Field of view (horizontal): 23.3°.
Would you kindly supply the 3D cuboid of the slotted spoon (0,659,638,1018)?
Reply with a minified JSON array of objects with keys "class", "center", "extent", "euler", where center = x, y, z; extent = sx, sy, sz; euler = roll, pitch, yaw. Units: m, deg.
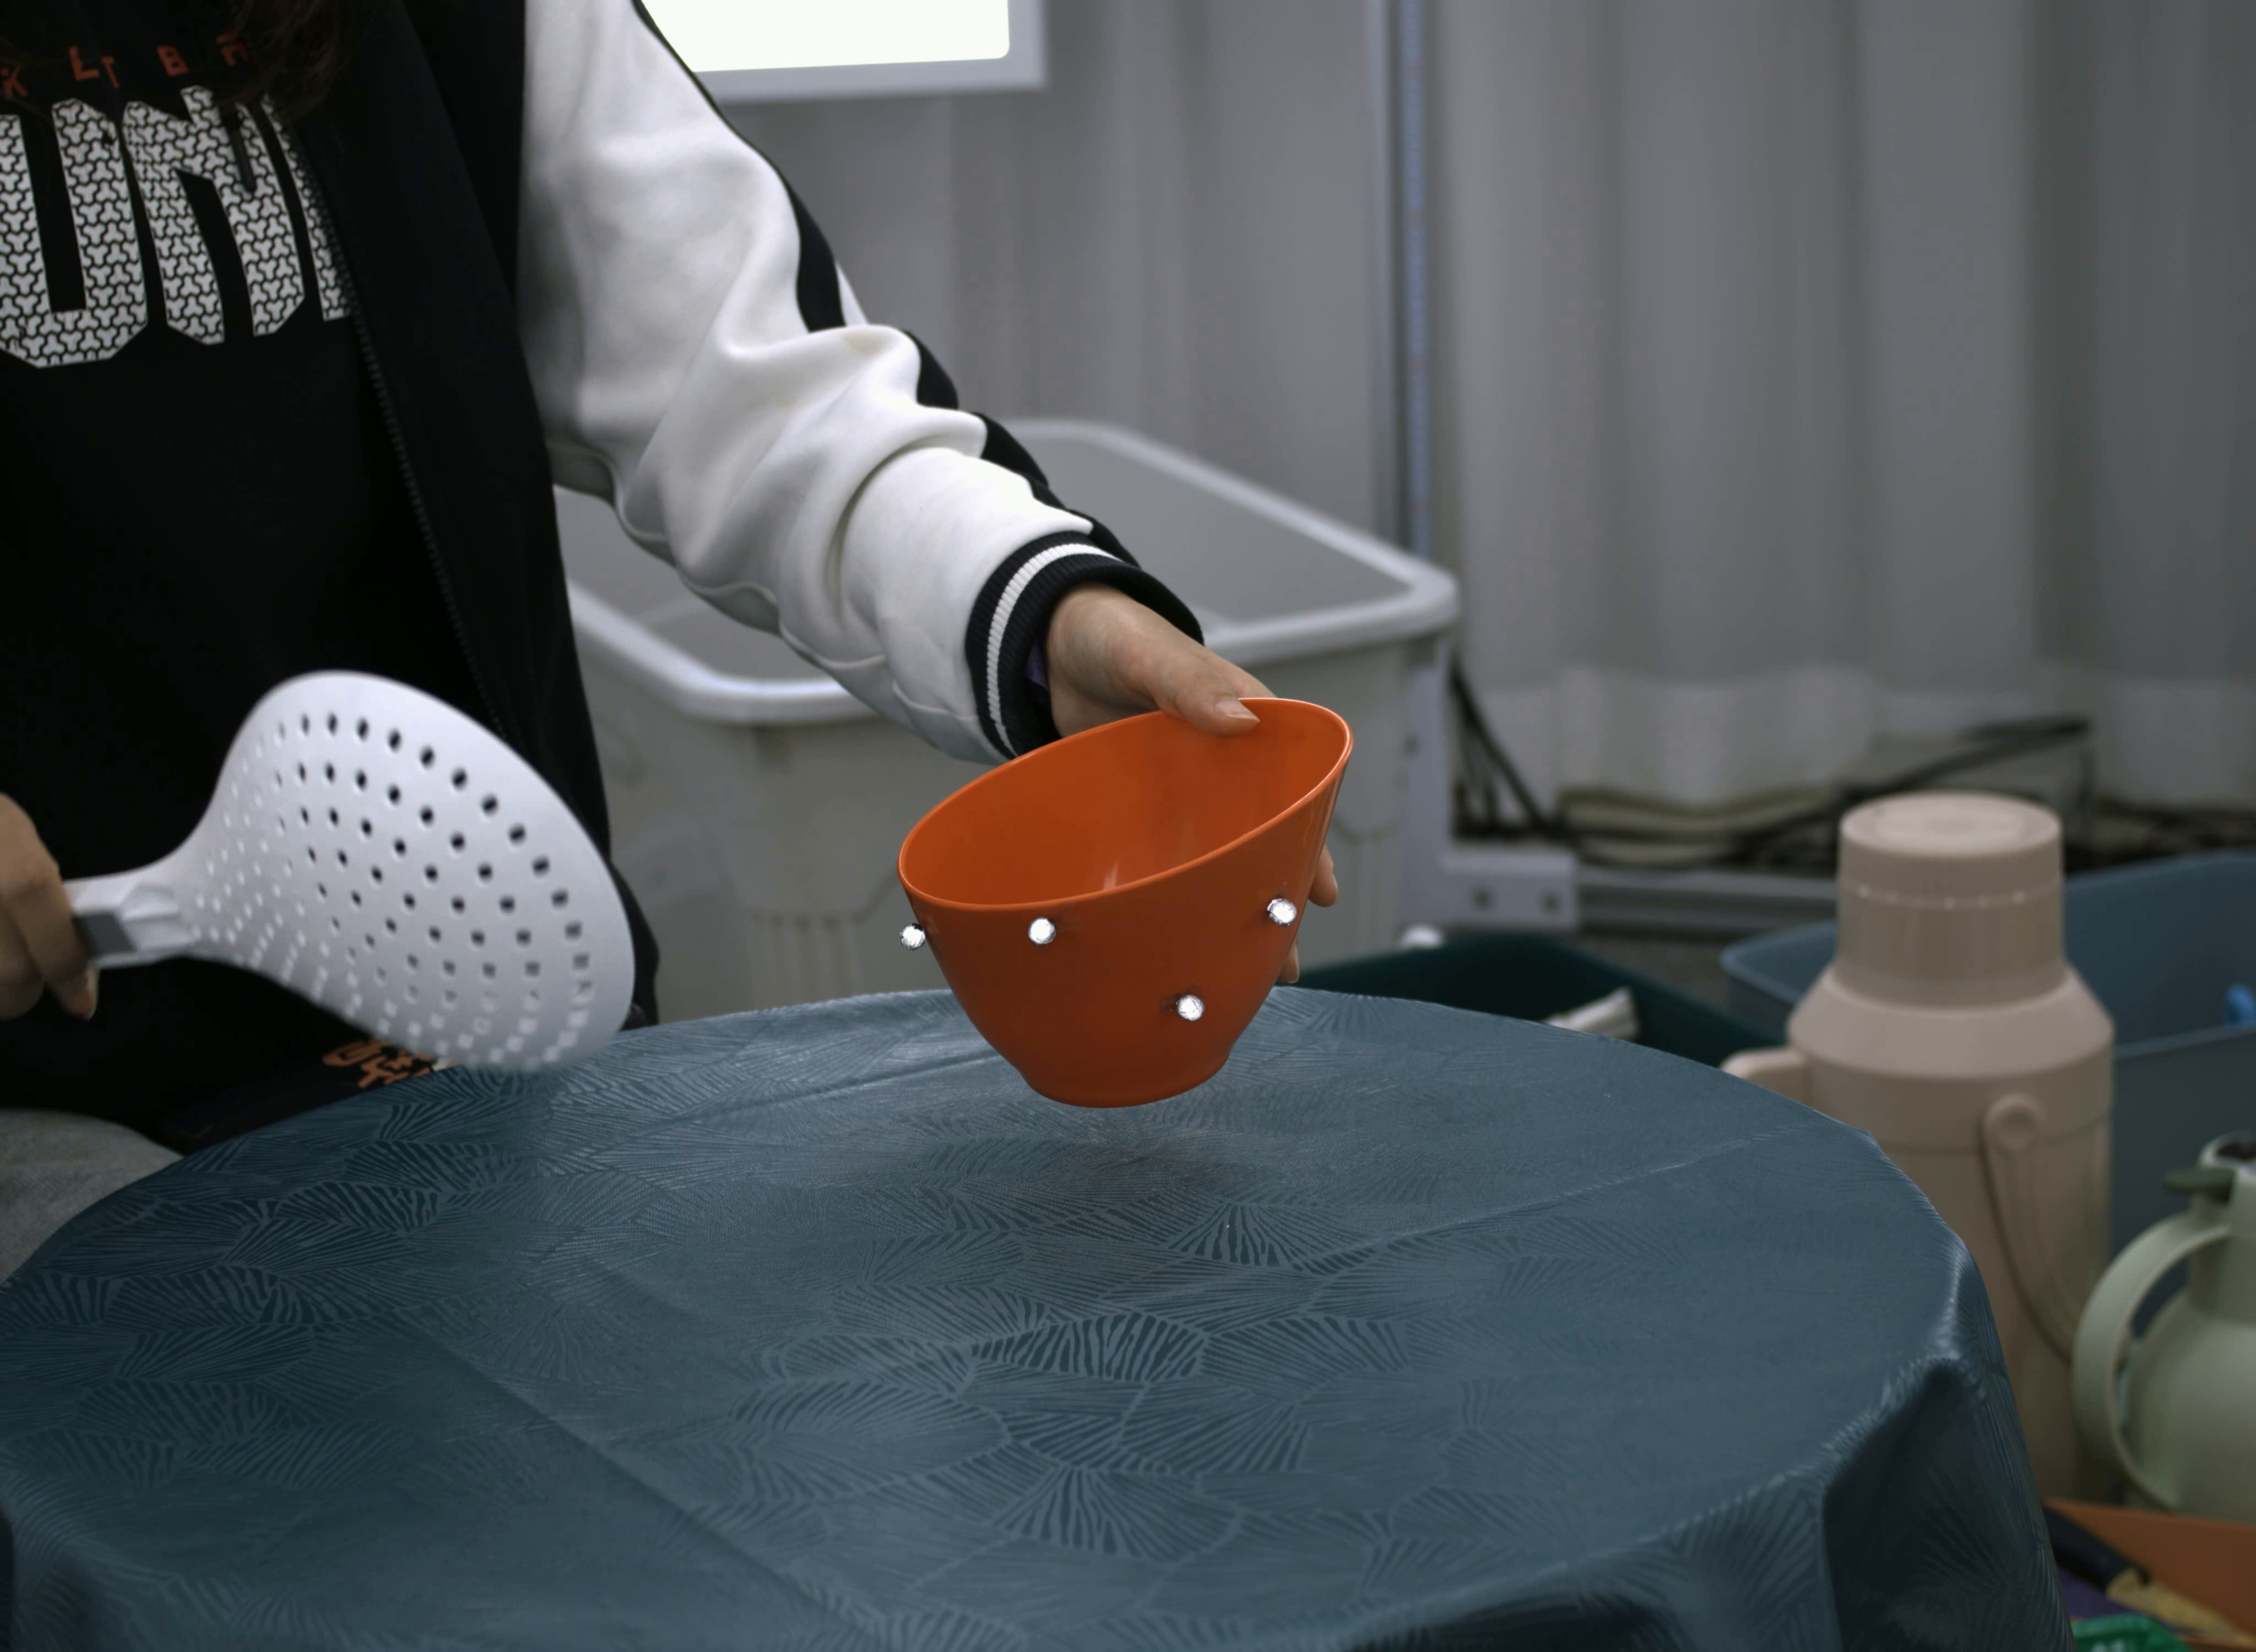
[{"class":"slotted spoon","center":[-0.277,0.019,1.608],"extent":[0.350,0.134,0.046],"euler":[-4,41,48]}]

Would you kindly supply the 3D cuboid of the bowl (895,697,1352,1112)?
[{"class":"bowl","center":[0.004,0.029,1.718],"extent":[0.147,0.104,0.149],"euler":[-8,24,3]}]
